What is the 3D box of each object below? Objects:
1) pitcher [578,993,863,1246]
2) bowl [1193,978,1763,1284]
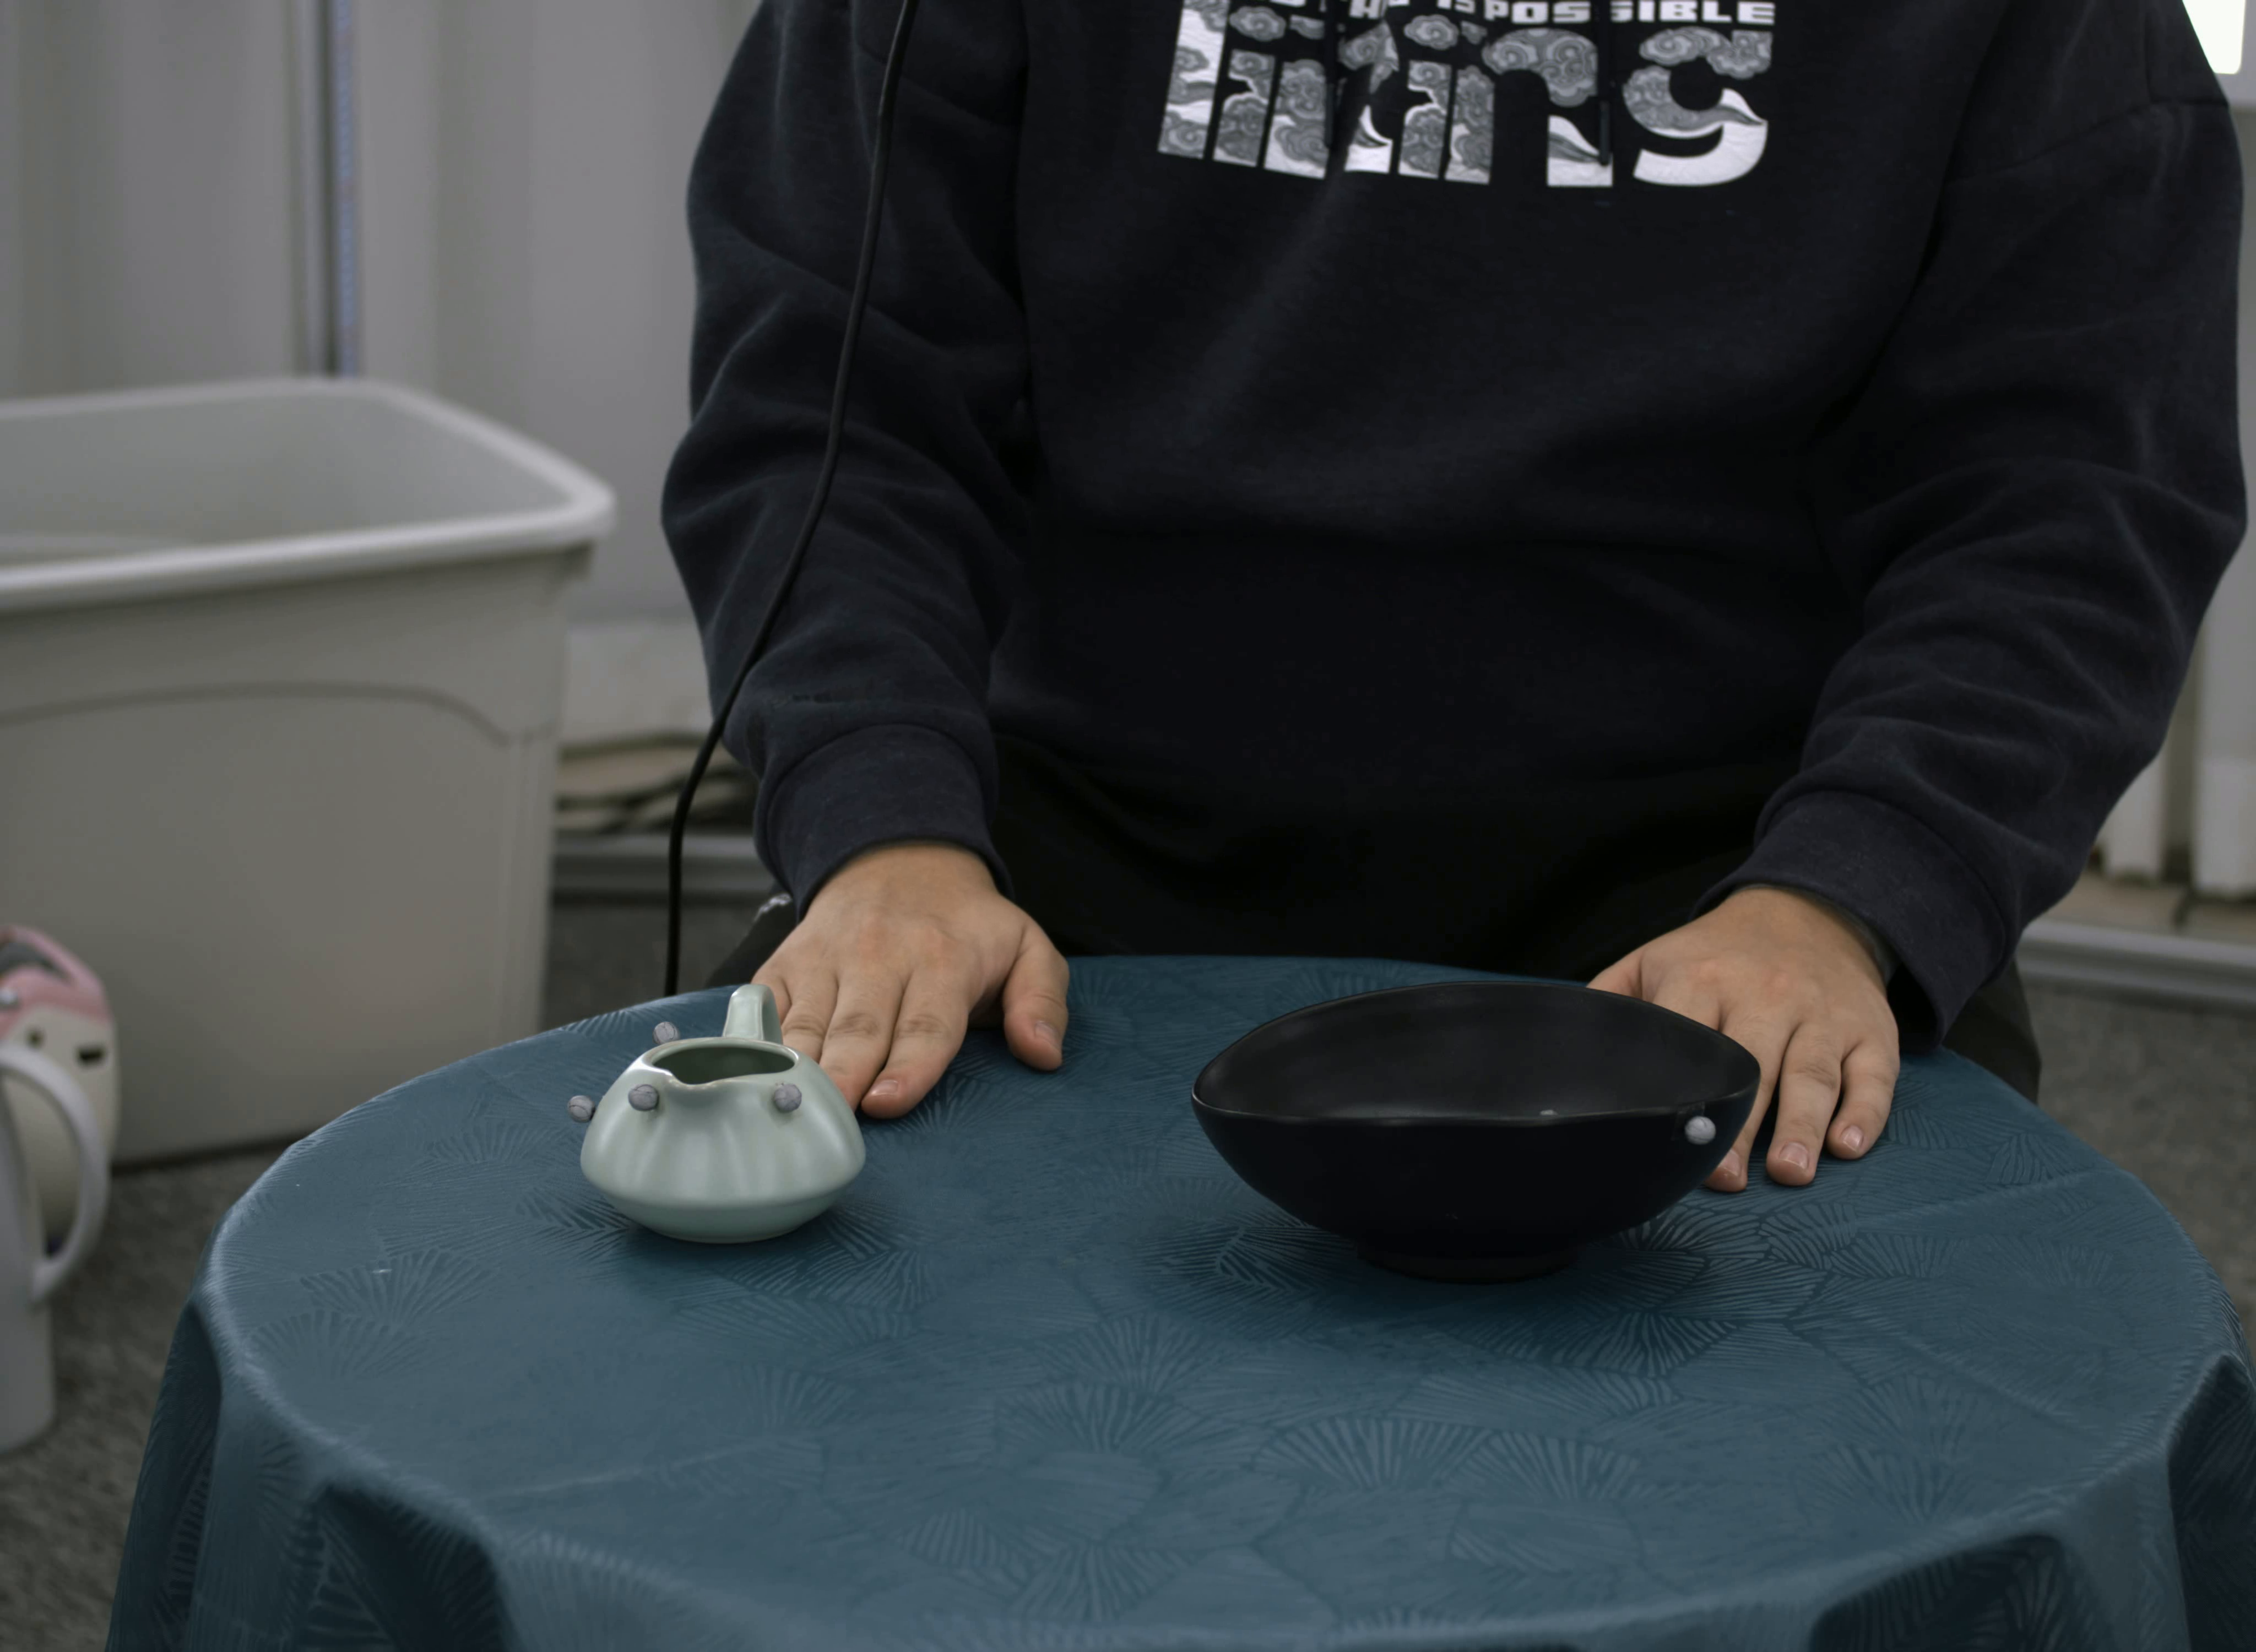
[{"bbox_3d":[-0.121,0.089,1.599,0.085,0.061,0.107,3,14,5],"label":"pitcher"},{"bbox_3d":[0.105,0.096,1.573,0.170,0.067,0.136,-1,15,-4],"label":"bowl"}]
